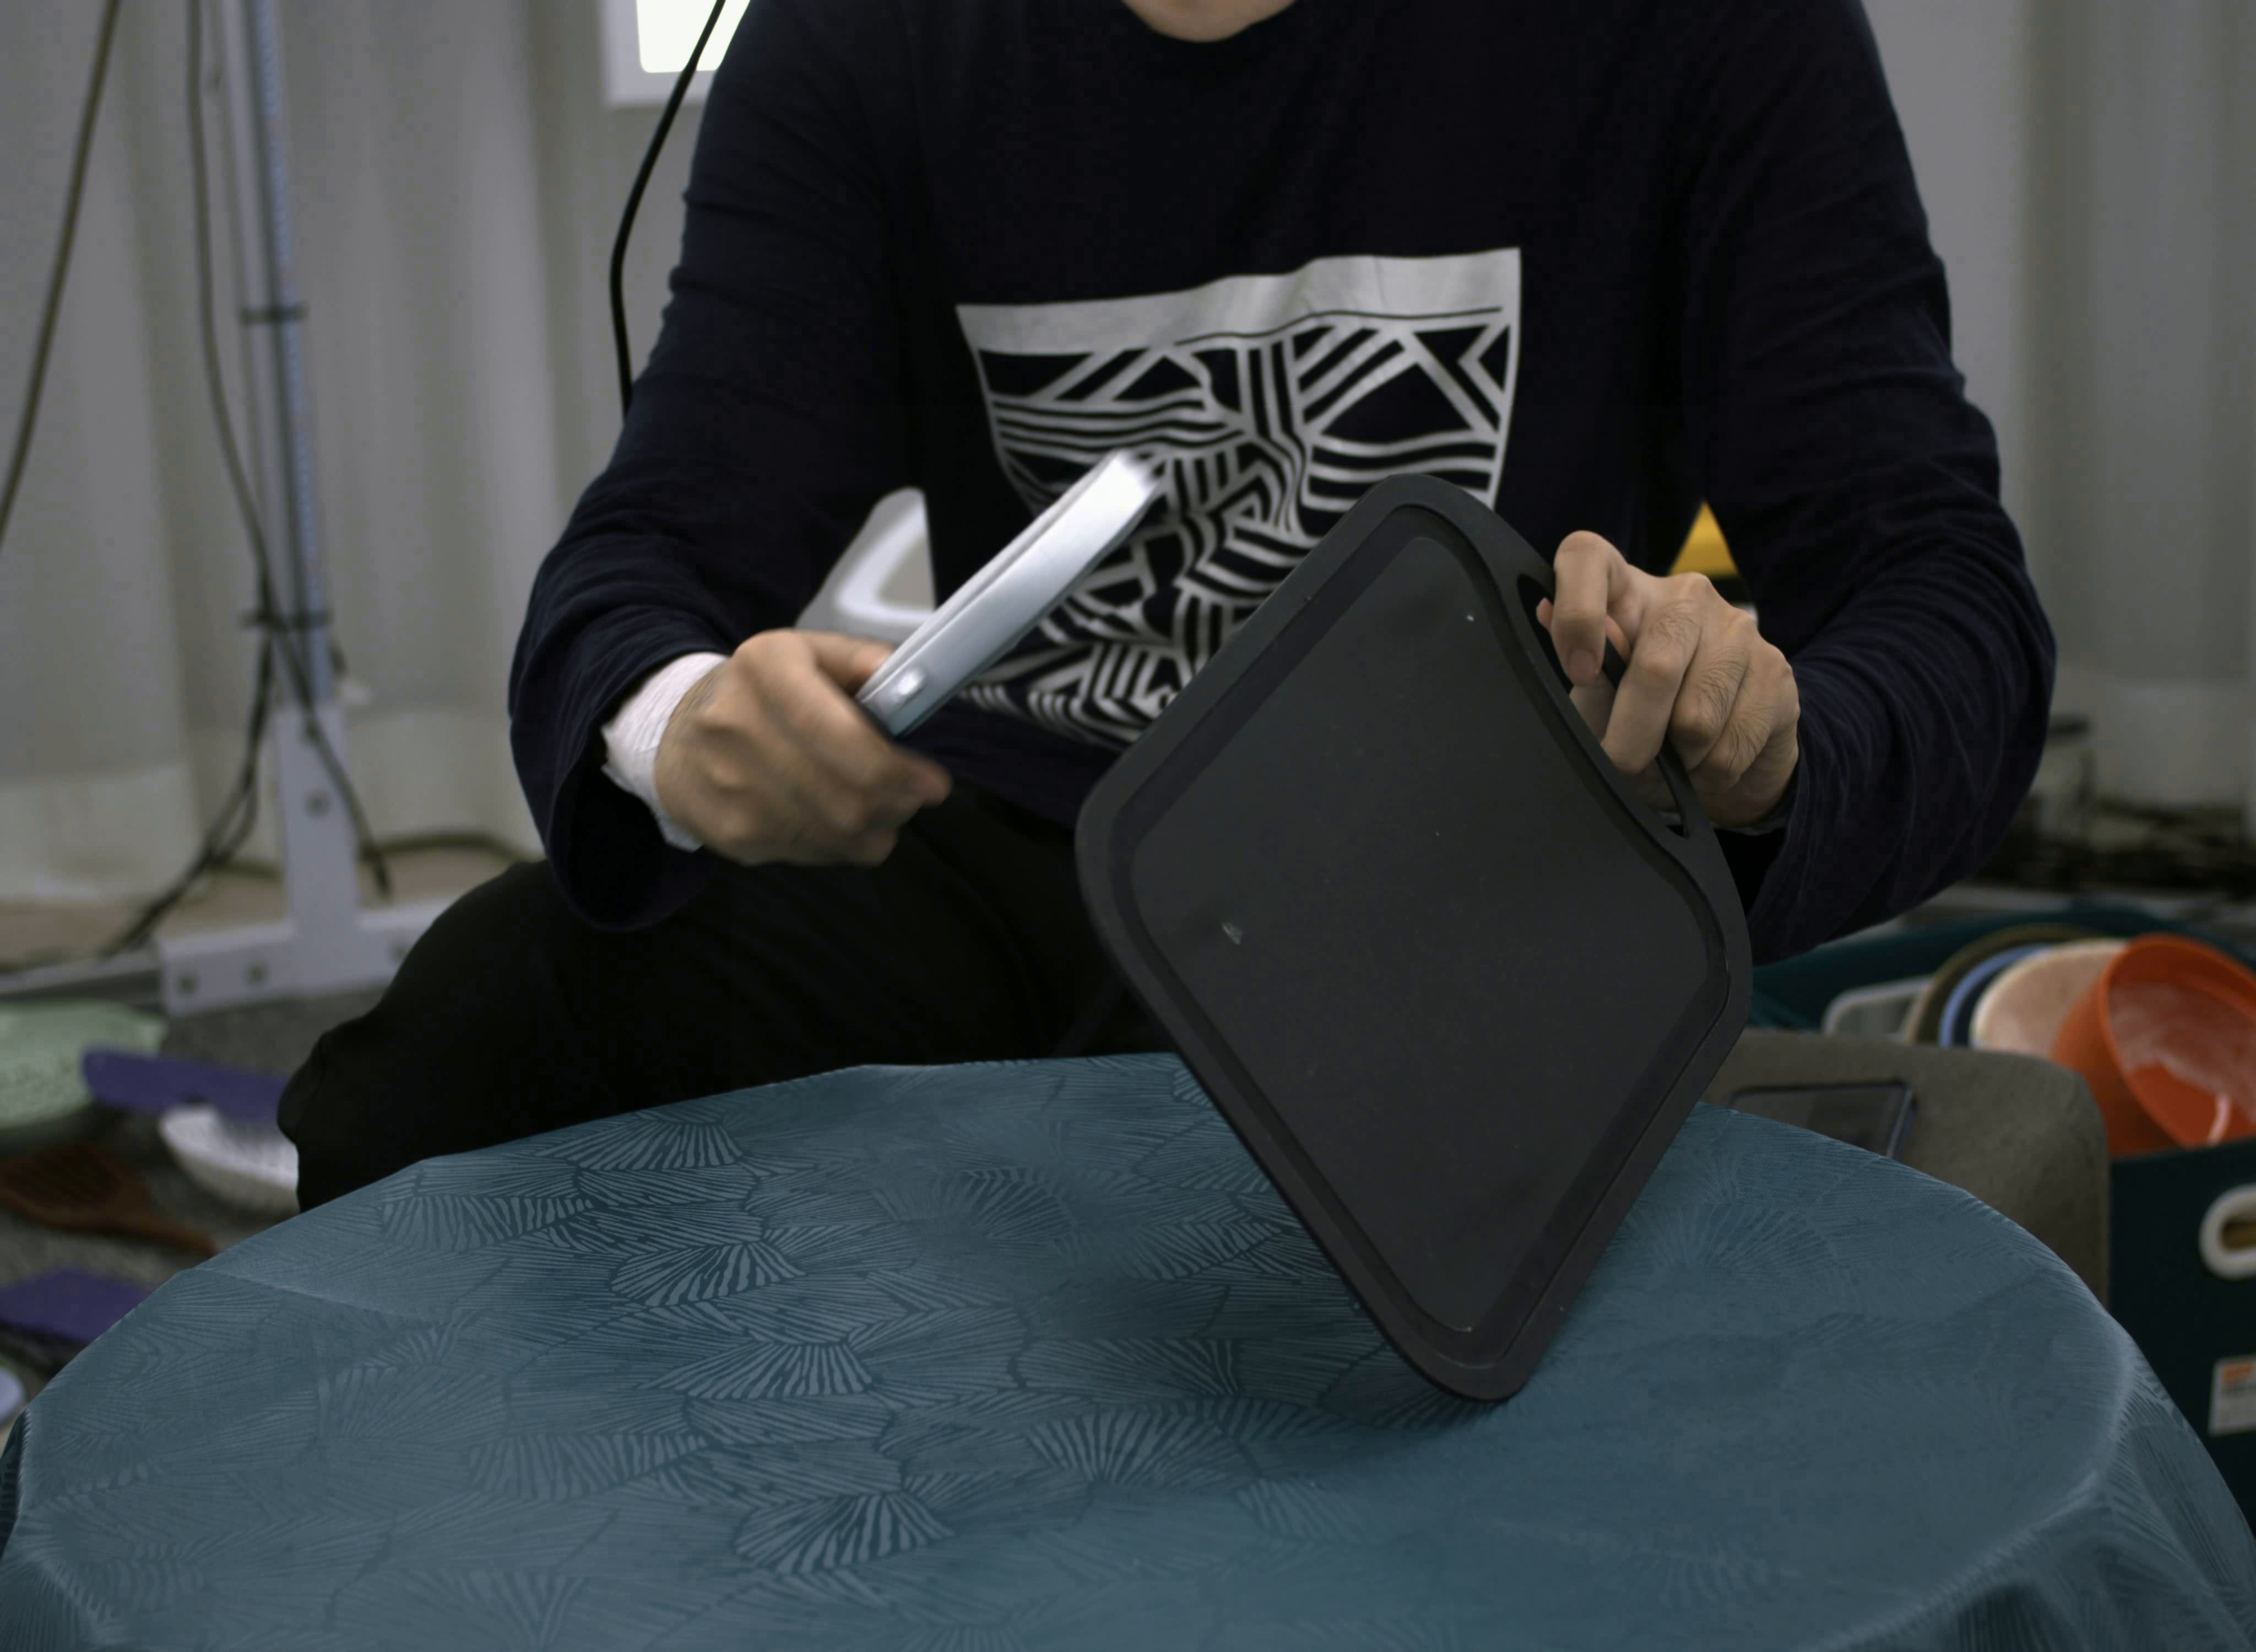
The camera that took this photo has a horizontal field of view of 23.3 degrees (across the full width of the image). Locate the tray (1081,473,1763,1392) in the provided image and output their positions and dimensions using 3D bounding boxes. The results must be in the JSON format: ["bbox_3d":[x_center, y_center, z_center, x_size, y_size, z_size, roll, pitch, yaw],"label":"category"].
[{"bbox_3d":[0.097,0.019,1.621,0.010,0.210,0.327,-31,8,34],"label":"tray"}]

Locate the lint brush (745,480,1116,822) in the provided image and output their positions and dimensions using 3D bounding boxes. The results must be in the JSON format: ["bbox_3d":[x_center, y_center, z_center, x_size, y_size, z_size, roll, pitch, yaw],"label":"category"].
[{"bbox_3d":[-0.066,-0.046,1.648,0.060,0.021,0.308,-50,6,-22],"label":"lint brush"}]
